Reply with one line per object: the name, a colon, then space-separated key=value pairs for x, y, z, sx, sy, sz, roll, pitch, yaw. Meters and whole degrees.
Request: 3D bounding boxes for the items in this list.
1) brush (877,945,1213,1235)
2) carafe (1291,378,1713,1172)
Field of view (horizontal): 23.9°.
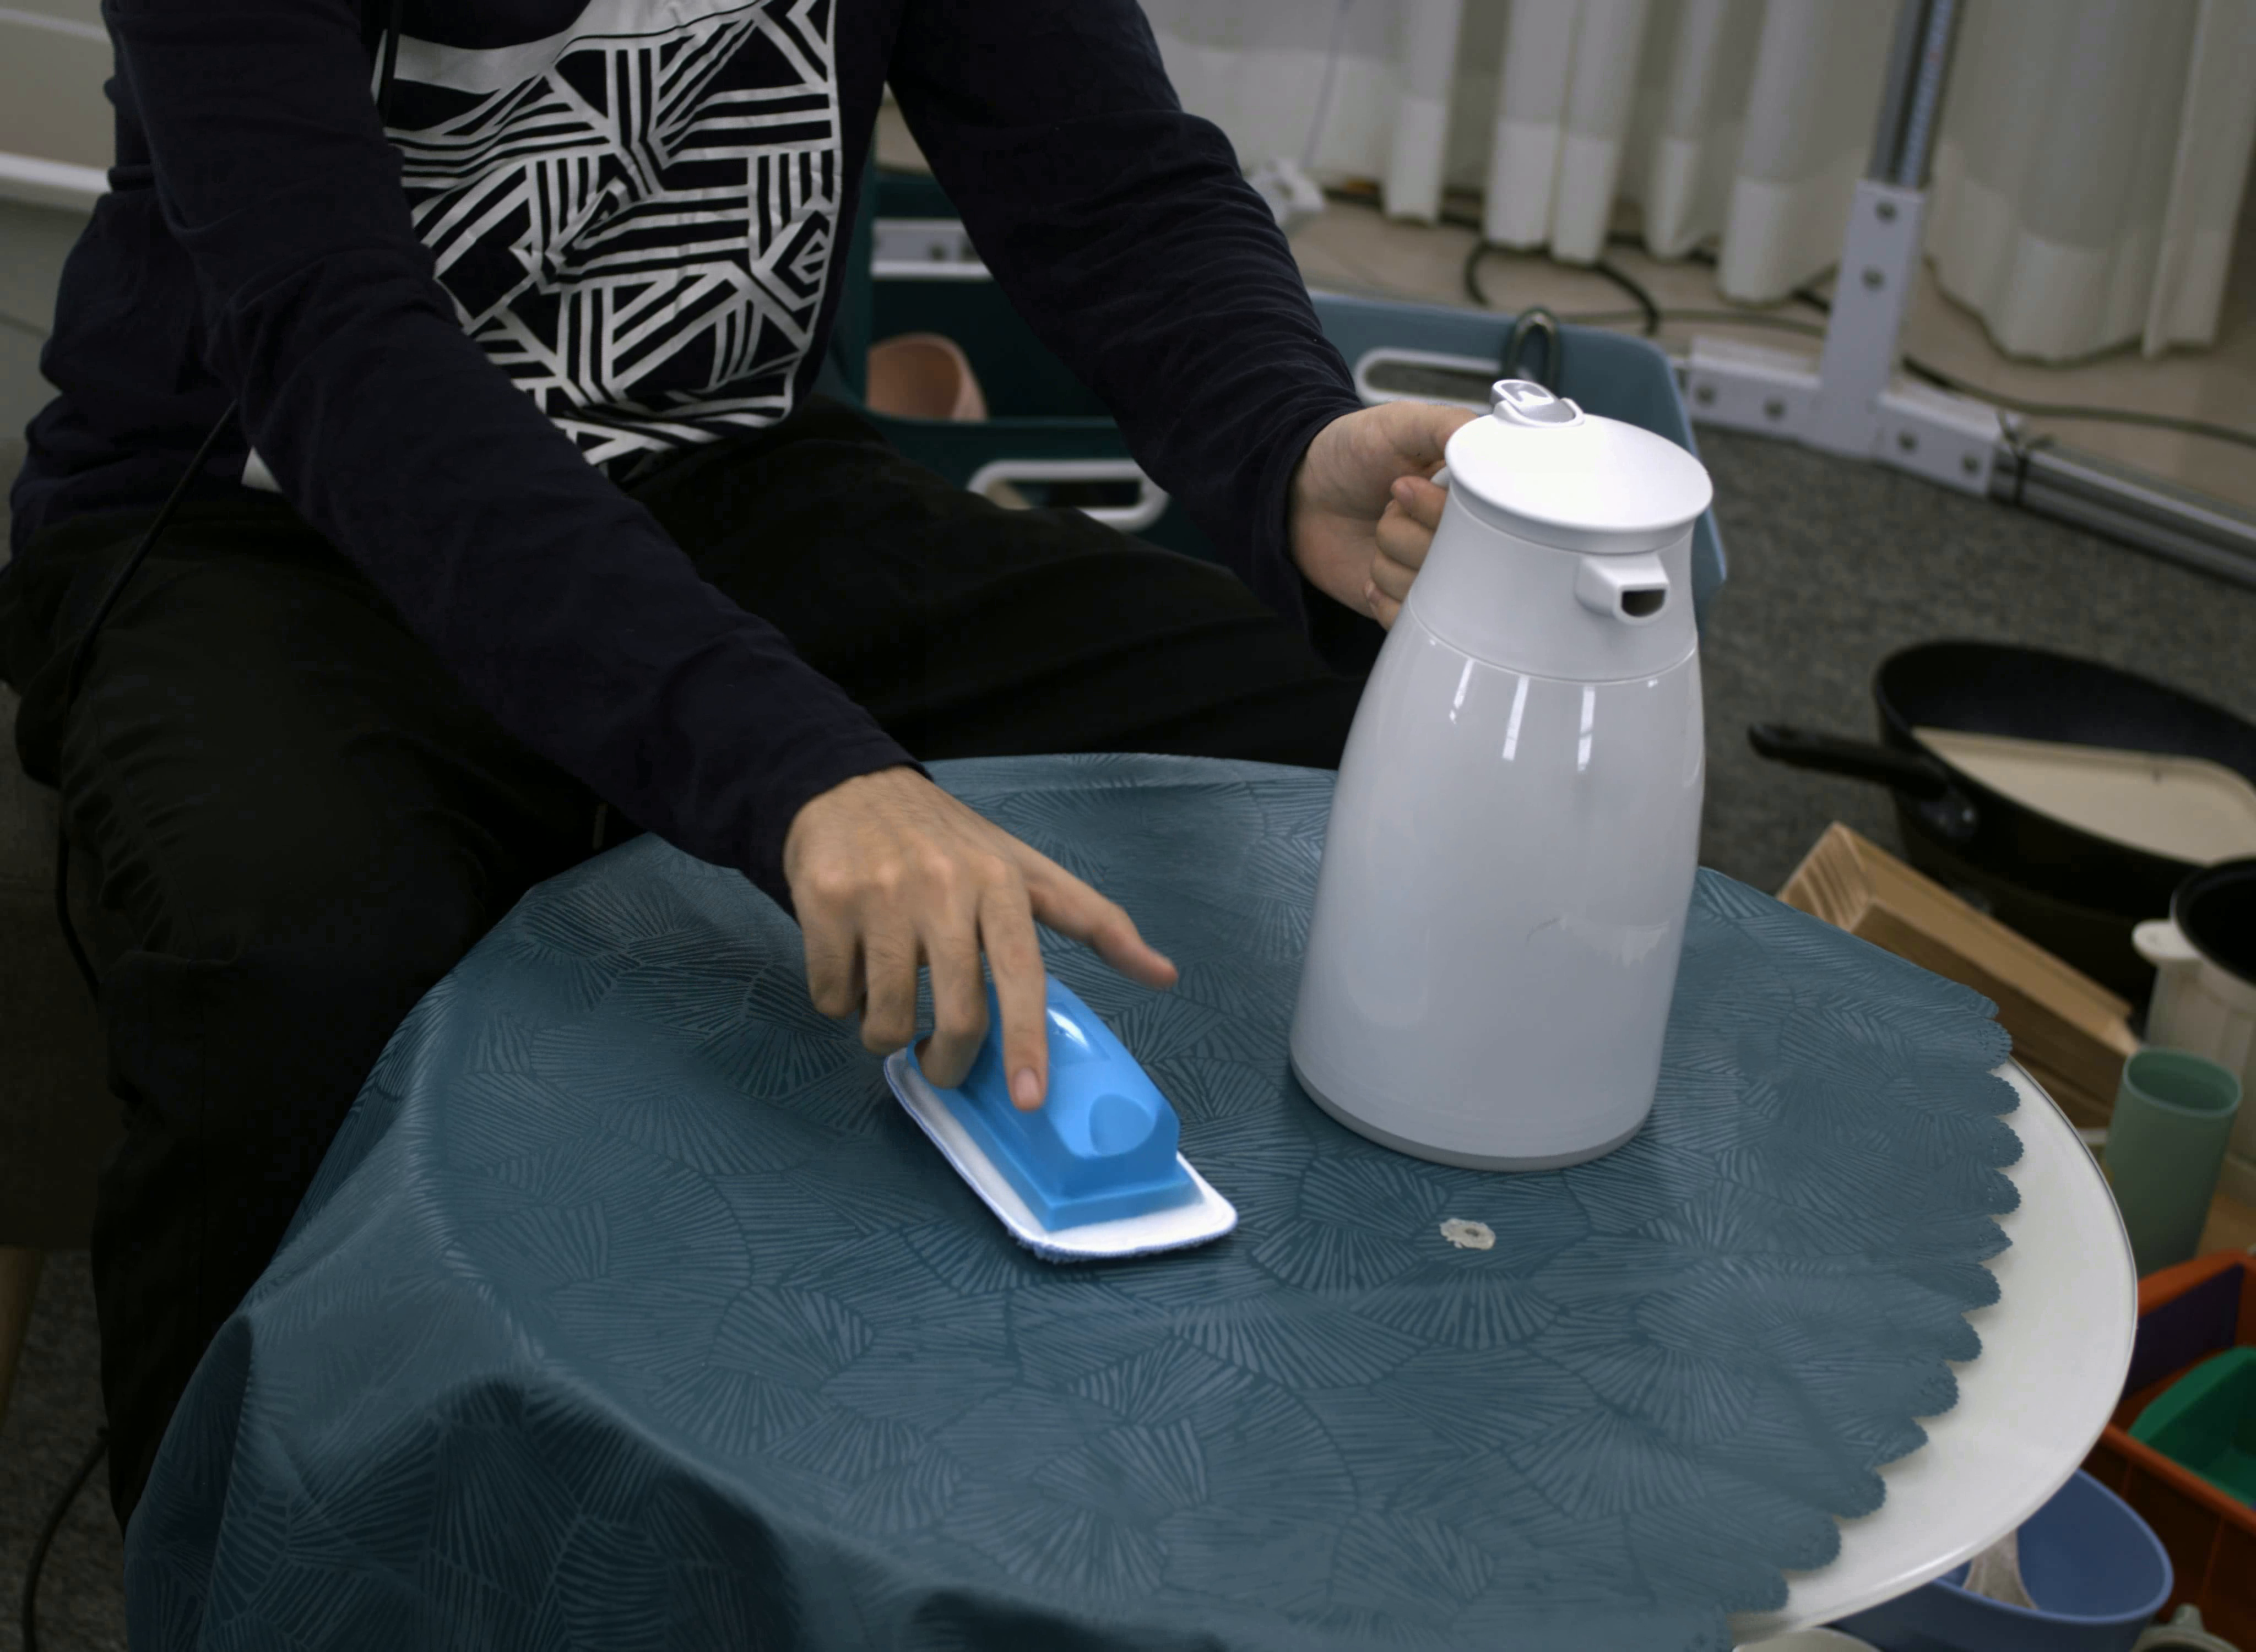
brush: x=-0.026 y=0.085 z=1.810 sx=0.083 sy=0.056 sz=0.145 roll=-2 pitch=30 yaw=-24
carafe: x=0.129 y=-0.028 z=1.856 sx=0.131 sy=0.248 sz=0.169 roll=-5 pitch=29 yaw=-22
